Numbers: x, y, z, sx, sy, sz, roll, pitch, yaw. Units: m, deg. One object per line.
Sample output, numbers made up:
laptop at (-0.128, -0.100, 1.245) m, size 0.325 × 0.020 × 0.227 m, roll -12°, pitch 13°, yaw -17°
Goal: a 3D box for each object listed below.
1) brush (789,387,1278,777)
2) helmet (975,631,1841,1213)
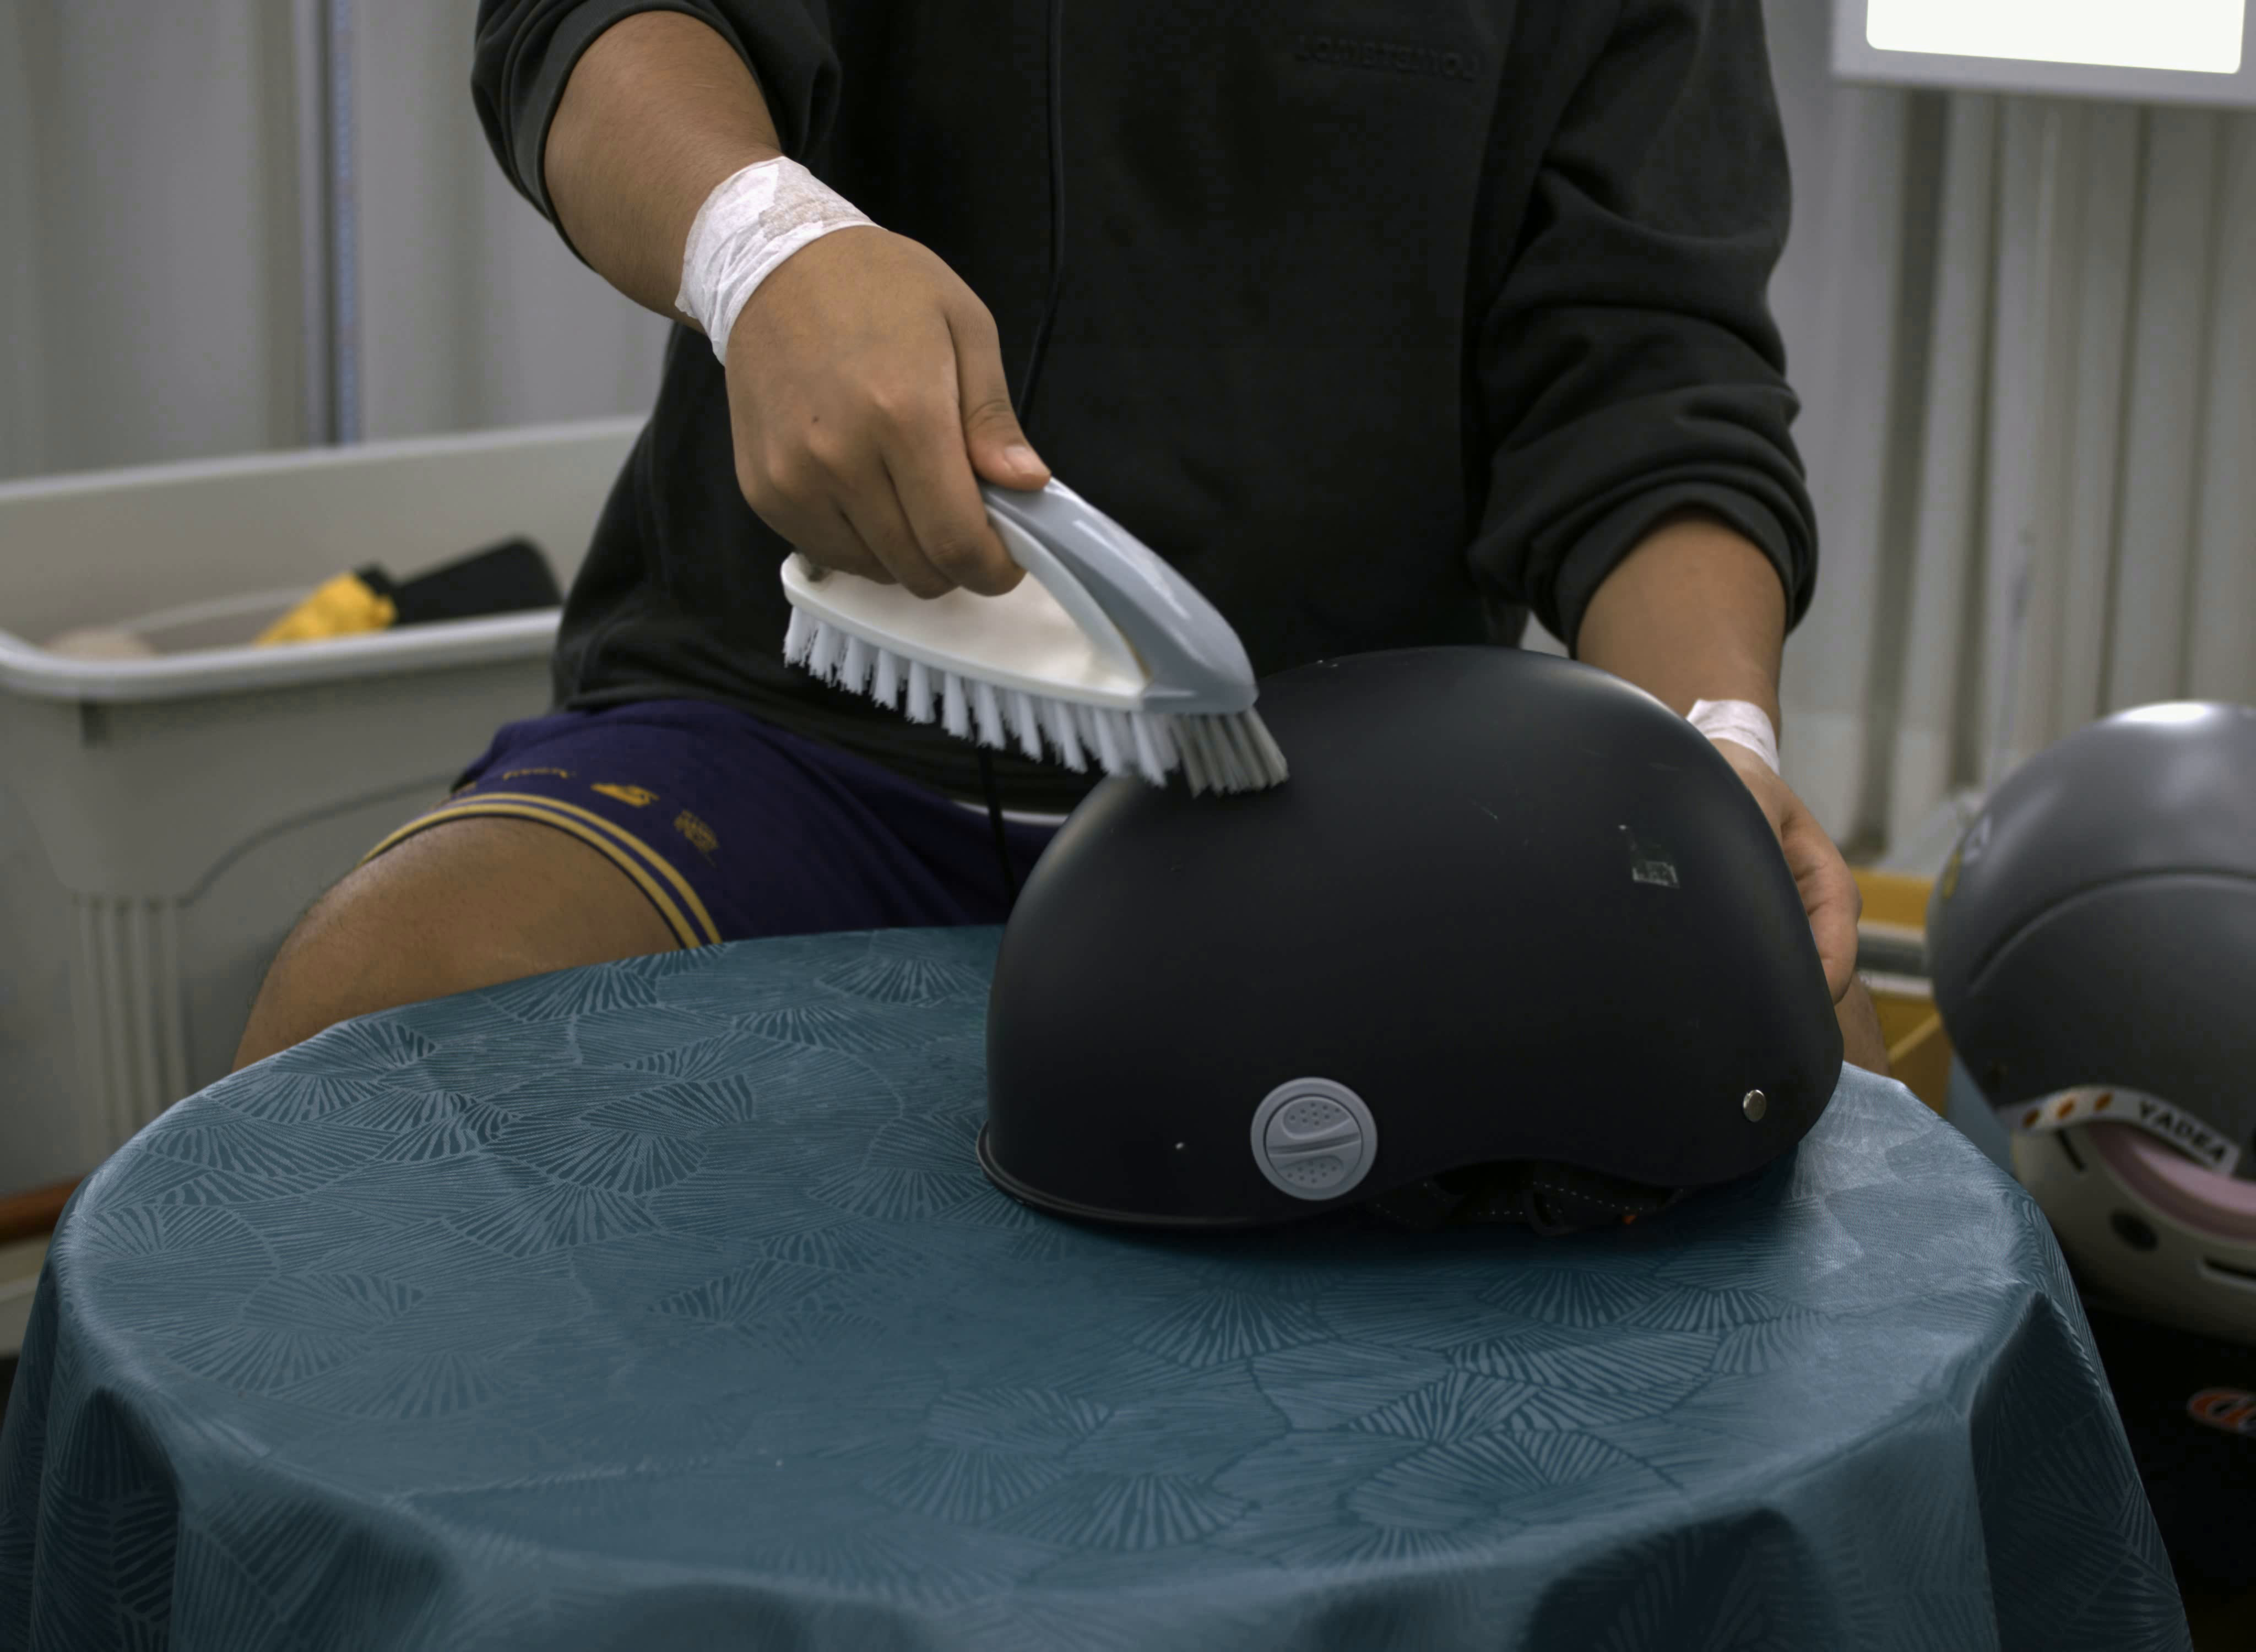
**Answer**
brush at (-0.028, -0.078, 1.584) m, size 0.173 × 0.095 × 0.061 m, roll 27°, pitch 54°, yaw 28°
helmet at (0.086, 0.025, 1.642) m, size 0.272 × 0.168 × 0.228 m, roll -2°, pitch 15°, yaw -2°
